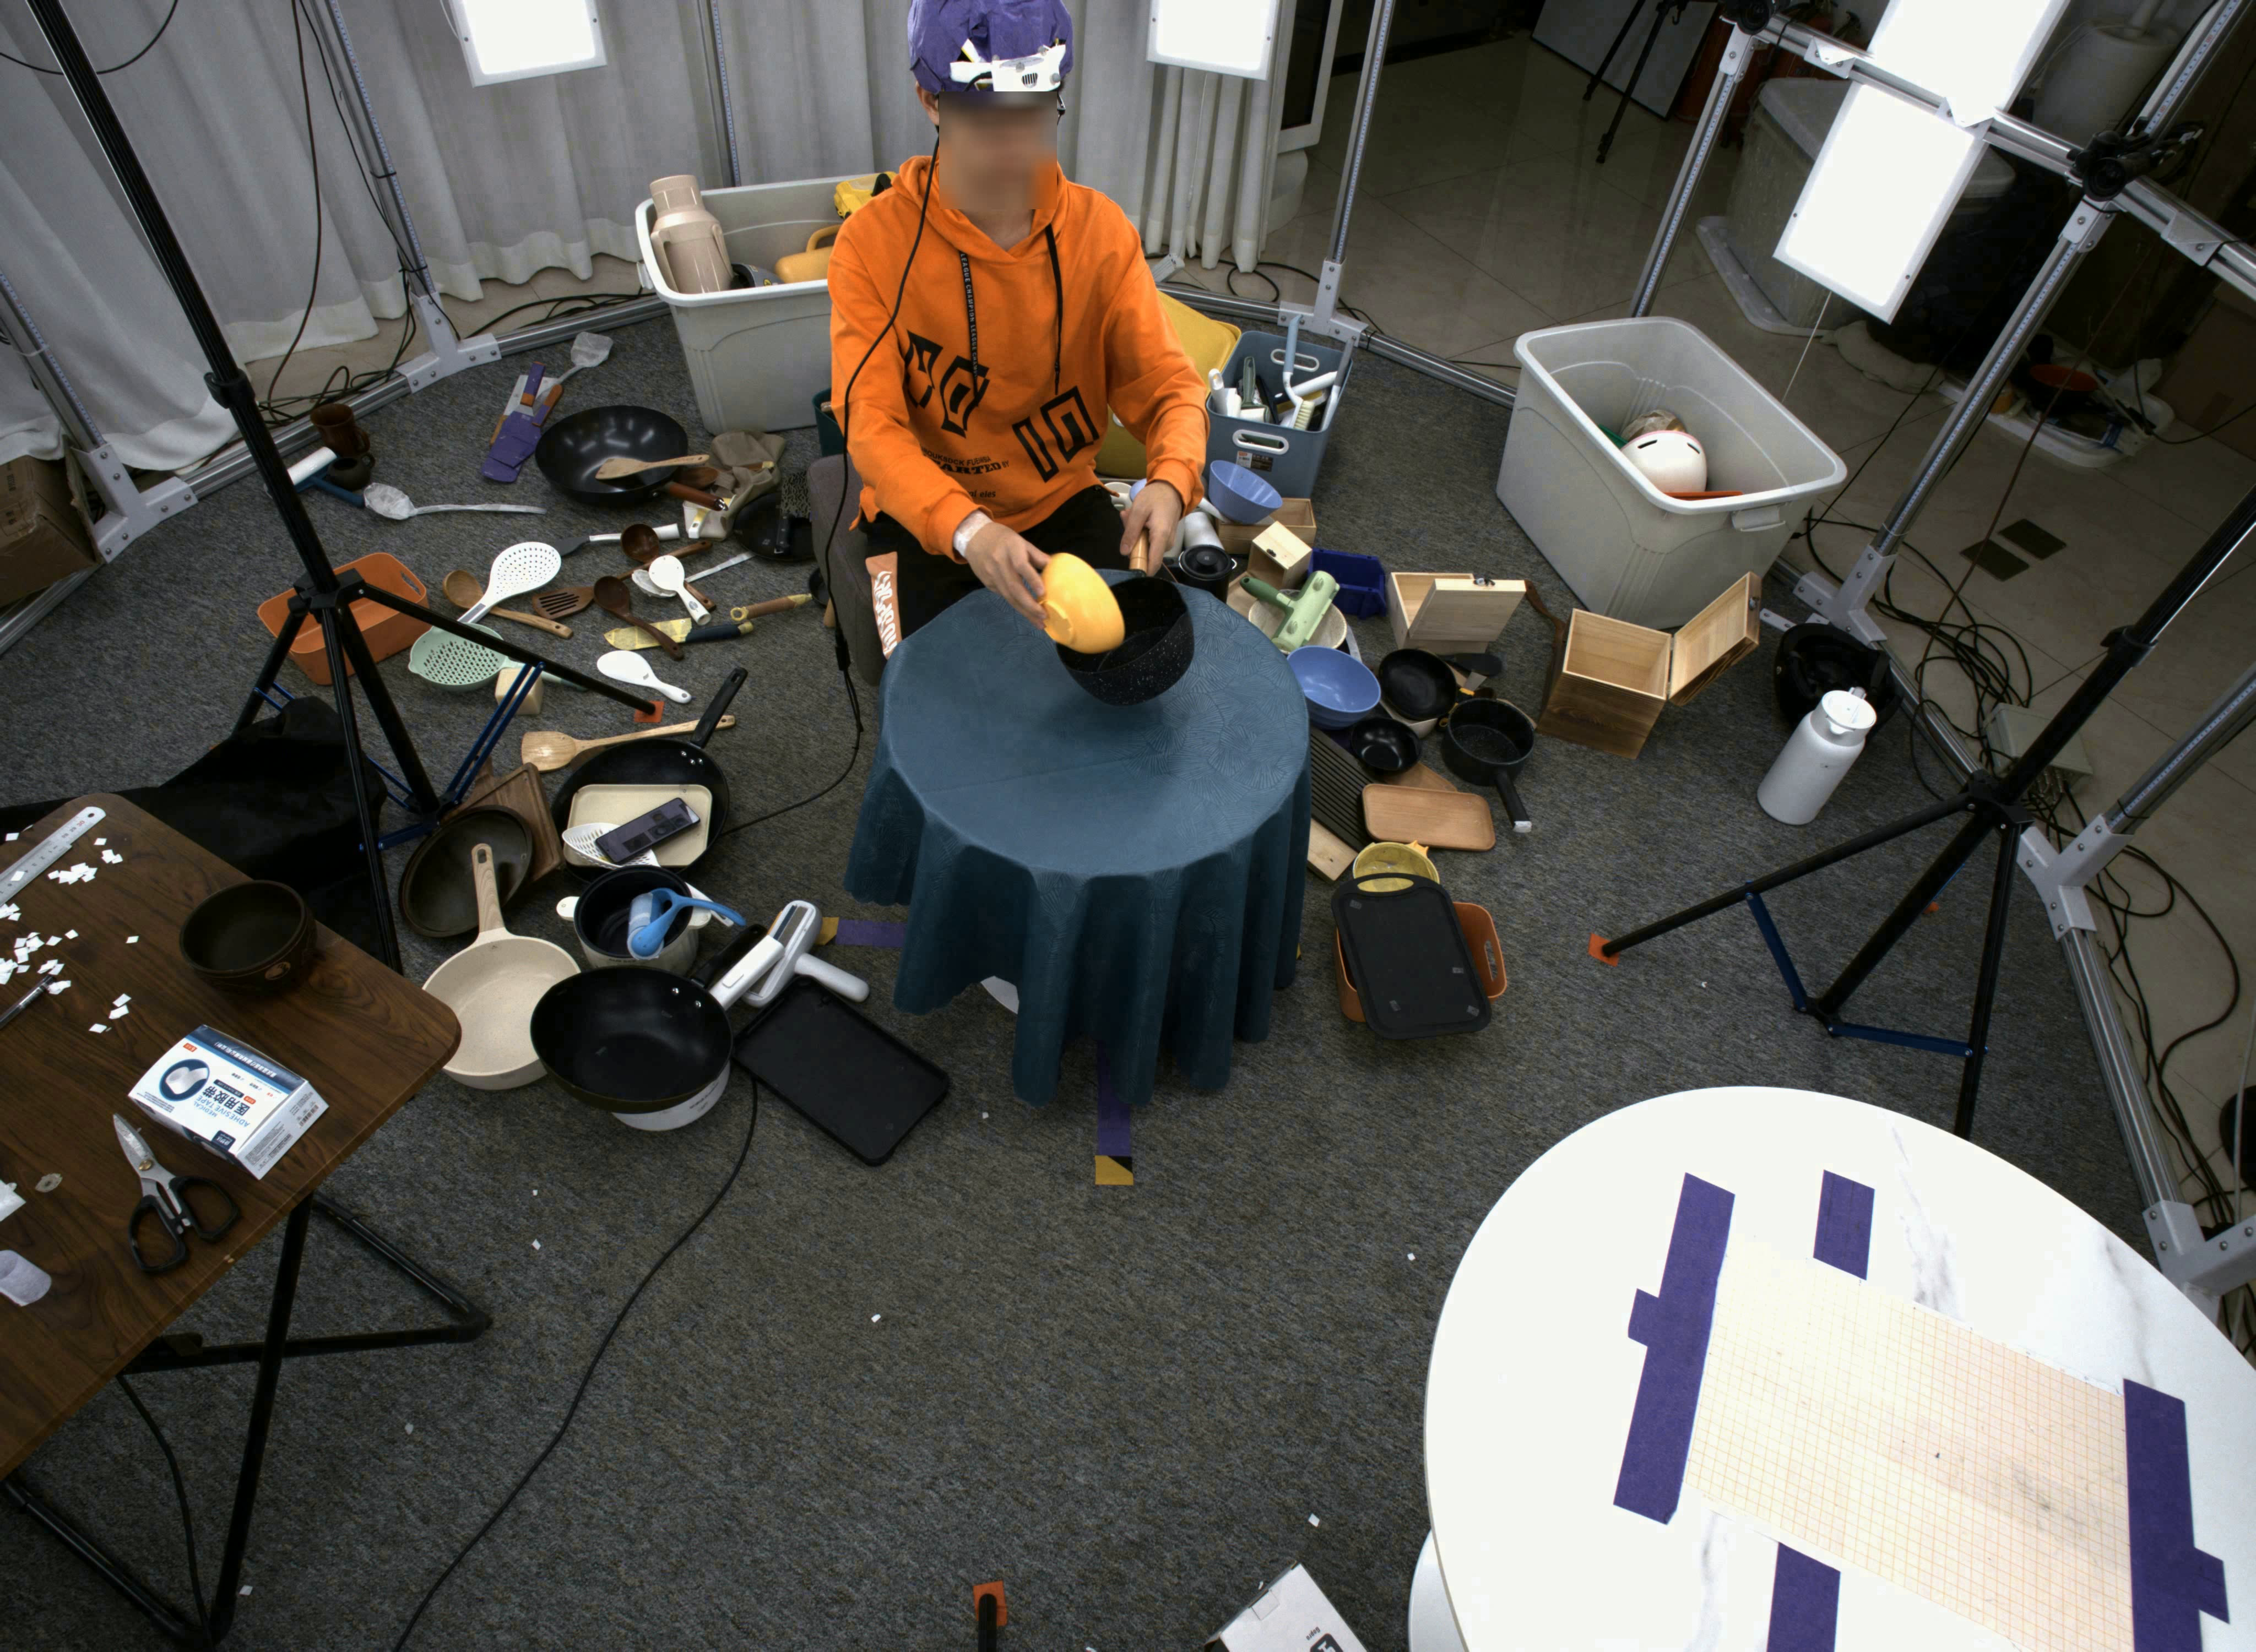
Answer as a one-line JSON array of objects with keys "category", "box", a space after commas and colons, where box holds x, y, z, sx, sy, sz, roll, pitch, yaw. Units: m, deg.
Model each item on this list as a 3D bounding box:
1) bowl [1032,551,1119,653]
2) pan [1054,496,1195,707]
[{"category": "bowl", "box": [-0.080, -0.278, 1.668, 0.060, 0.142, 0.147, -37, 61, -22]}, {"category": "pan", "box": [0.012, -0.313, 1.788, 0.207, 0.106, 0.351, -11, 46, 25]}]
